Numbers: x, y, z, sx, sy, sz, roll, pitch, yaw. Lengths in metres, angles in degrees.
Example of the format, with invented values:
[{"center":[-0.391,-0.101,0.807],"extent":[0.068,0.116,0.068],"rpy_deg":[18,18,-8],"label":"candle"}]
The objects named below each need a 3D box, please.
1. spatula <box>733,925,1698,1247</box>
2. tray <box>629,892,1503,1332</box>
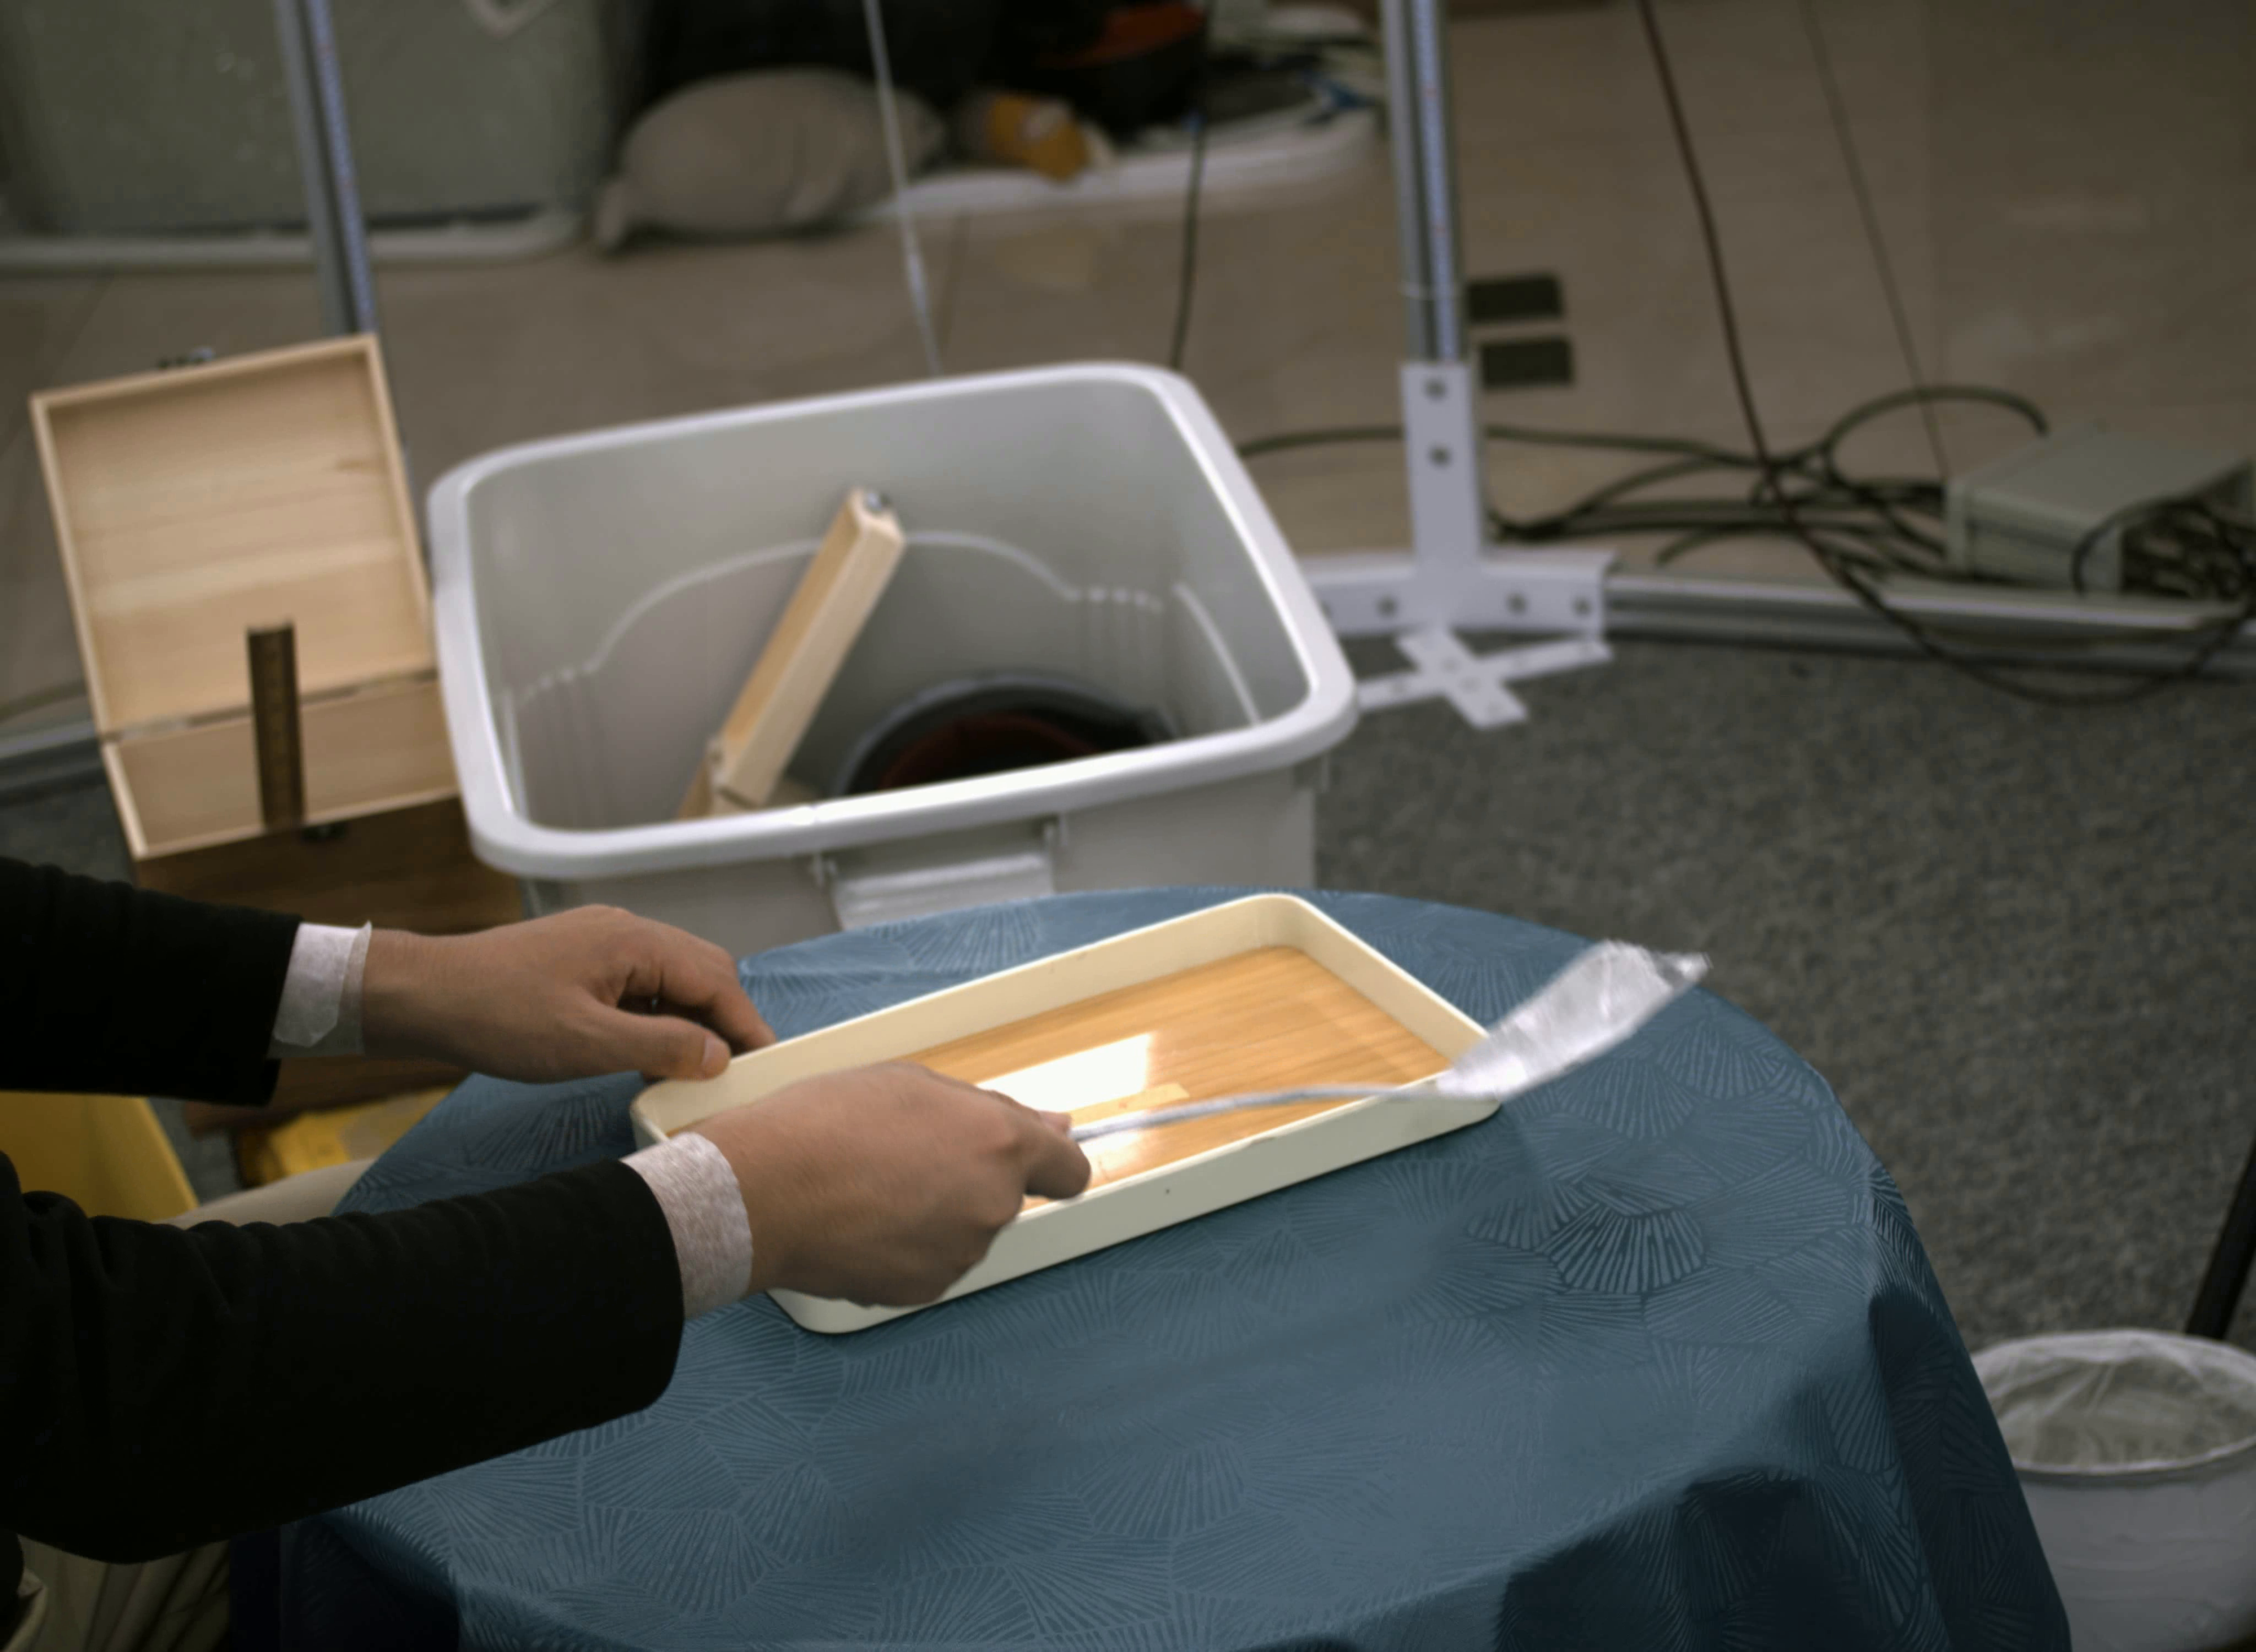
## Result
[{"center":[0.032,0.091,2.008],"extent":[0.364,0.045,0.098],"rpy_deg":[-11,7,-18],"label":"spatula"},{"center":[-0.025,0.107,2.191],"extent":[0.299,0.028,0.189],"rpy_deg":[-17,27,-21],"label":"tray"}]
